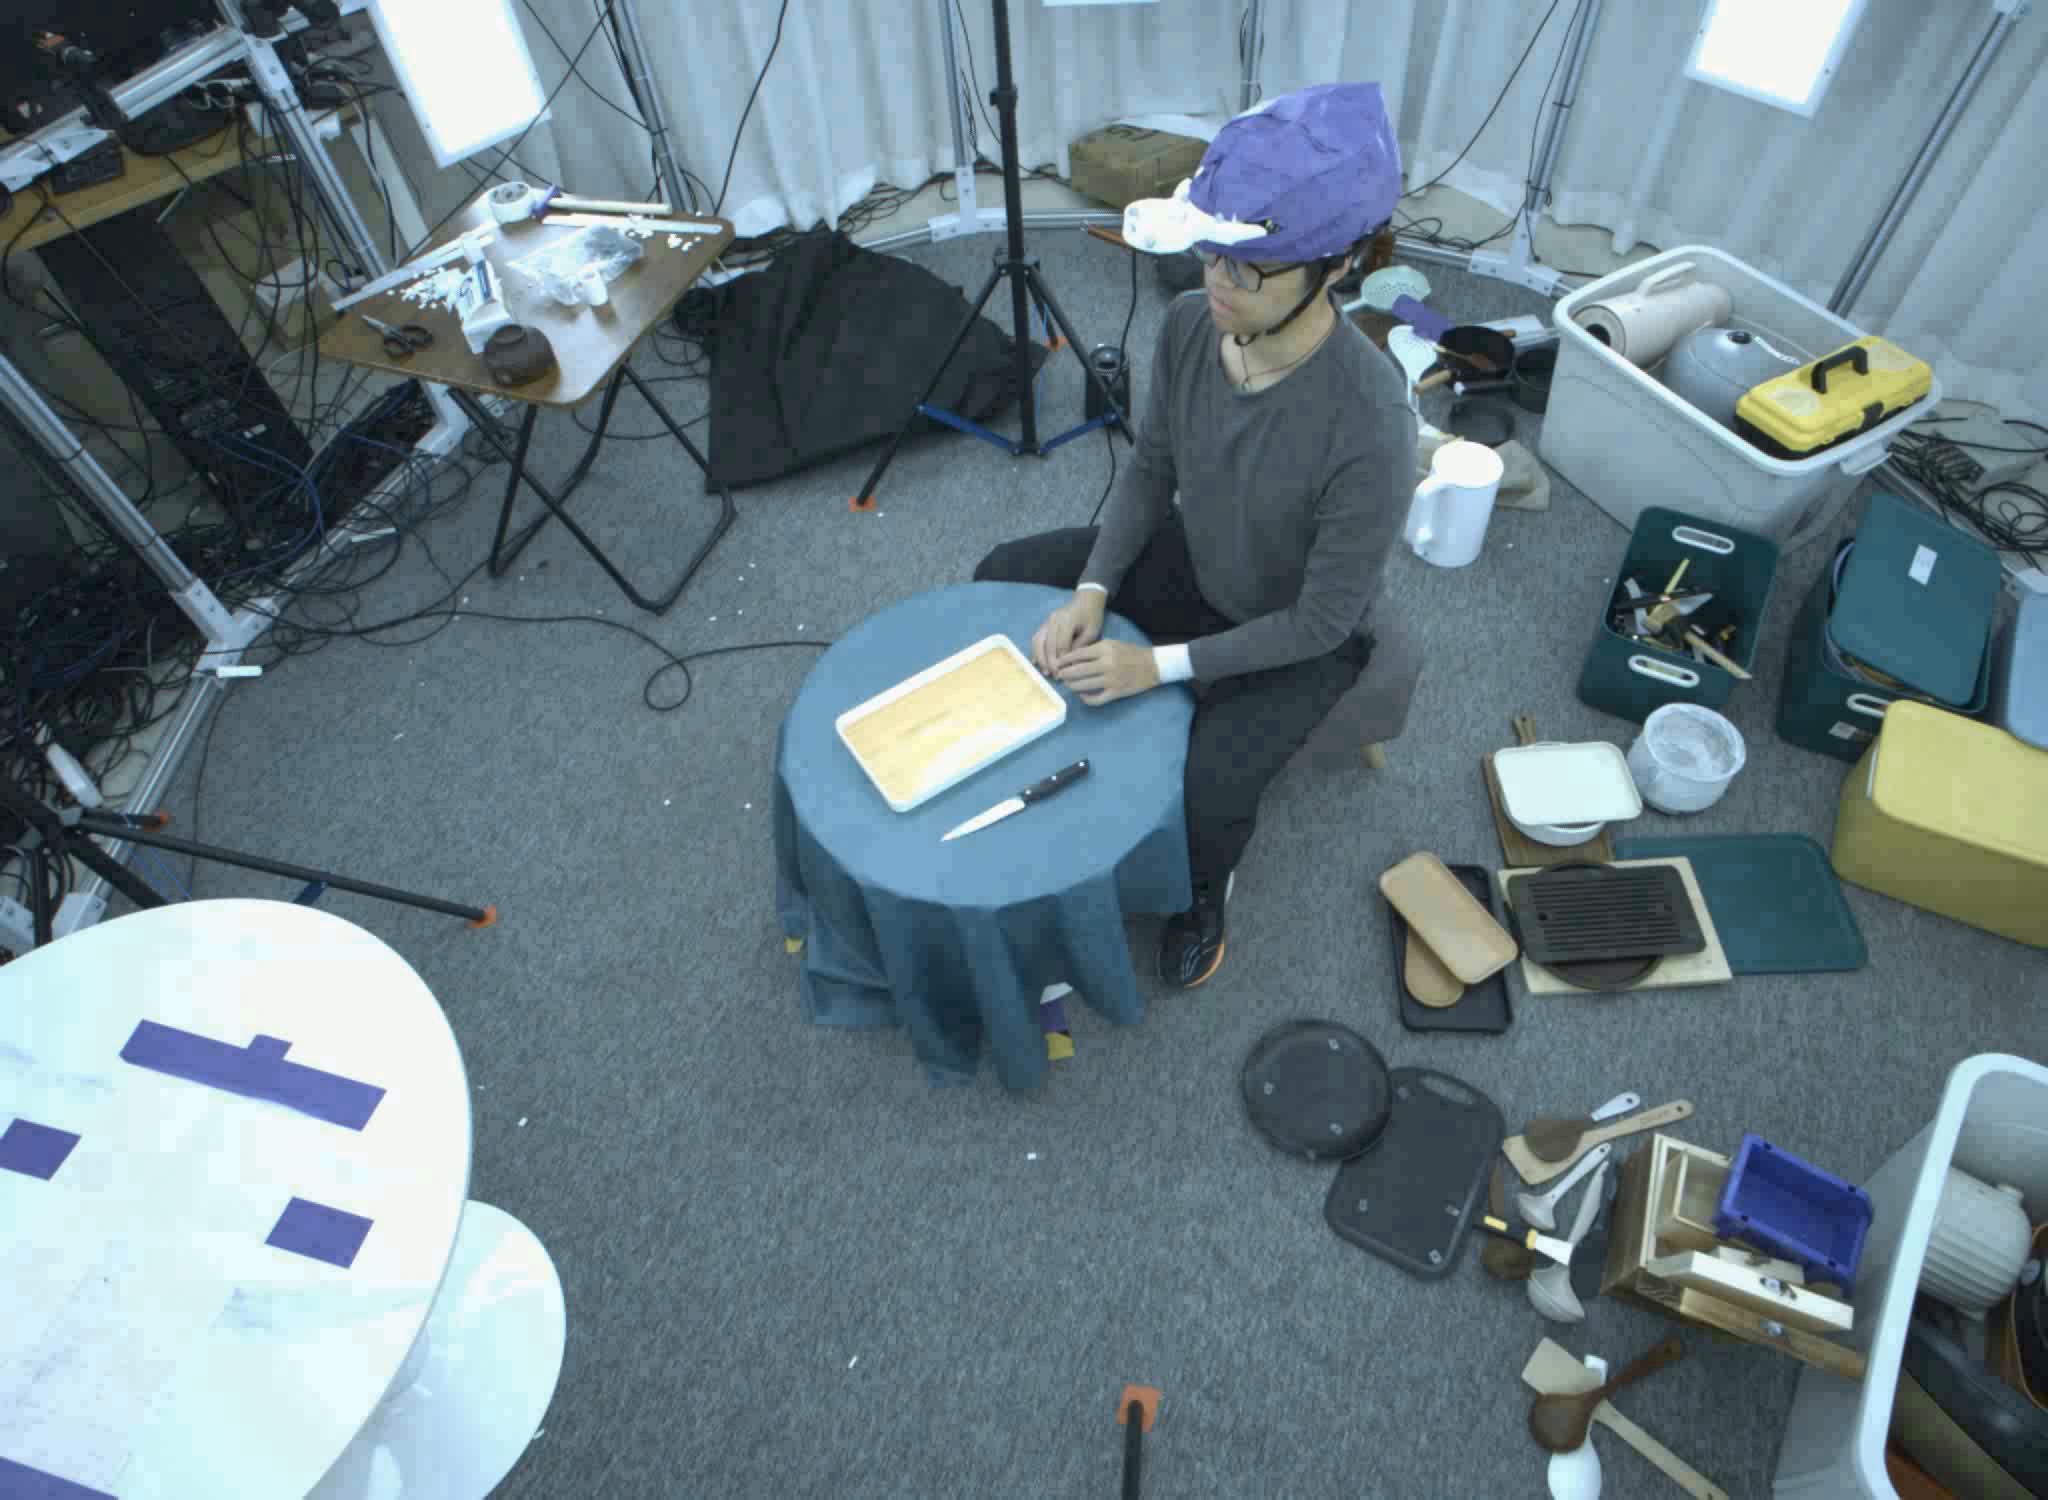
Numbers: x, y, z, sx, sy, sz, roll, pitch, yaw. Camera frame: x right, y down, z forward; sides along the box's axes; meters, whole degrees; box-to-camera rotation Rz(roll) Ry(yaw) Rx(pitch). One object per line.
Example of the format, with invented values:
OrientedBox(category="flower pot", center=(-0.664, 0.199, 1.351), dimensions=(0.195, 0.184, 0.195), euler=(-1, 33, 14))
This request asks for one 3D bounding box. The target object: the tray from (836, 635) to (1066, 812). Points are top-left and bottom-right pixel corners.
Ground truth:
OrientedBox(category="tray", center=(-0.107, -0.044, 1.813), dimensions=(0.303, 0.027, 0.188), euler=(-29, 60, -18))

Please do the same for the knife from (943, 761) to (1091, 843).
OrientedBox(category="knife", center=(-0.011, 0.073, 1.736), dimensions=(0.240, 0.016, 0.024), euler=(-28, 53, -14))
